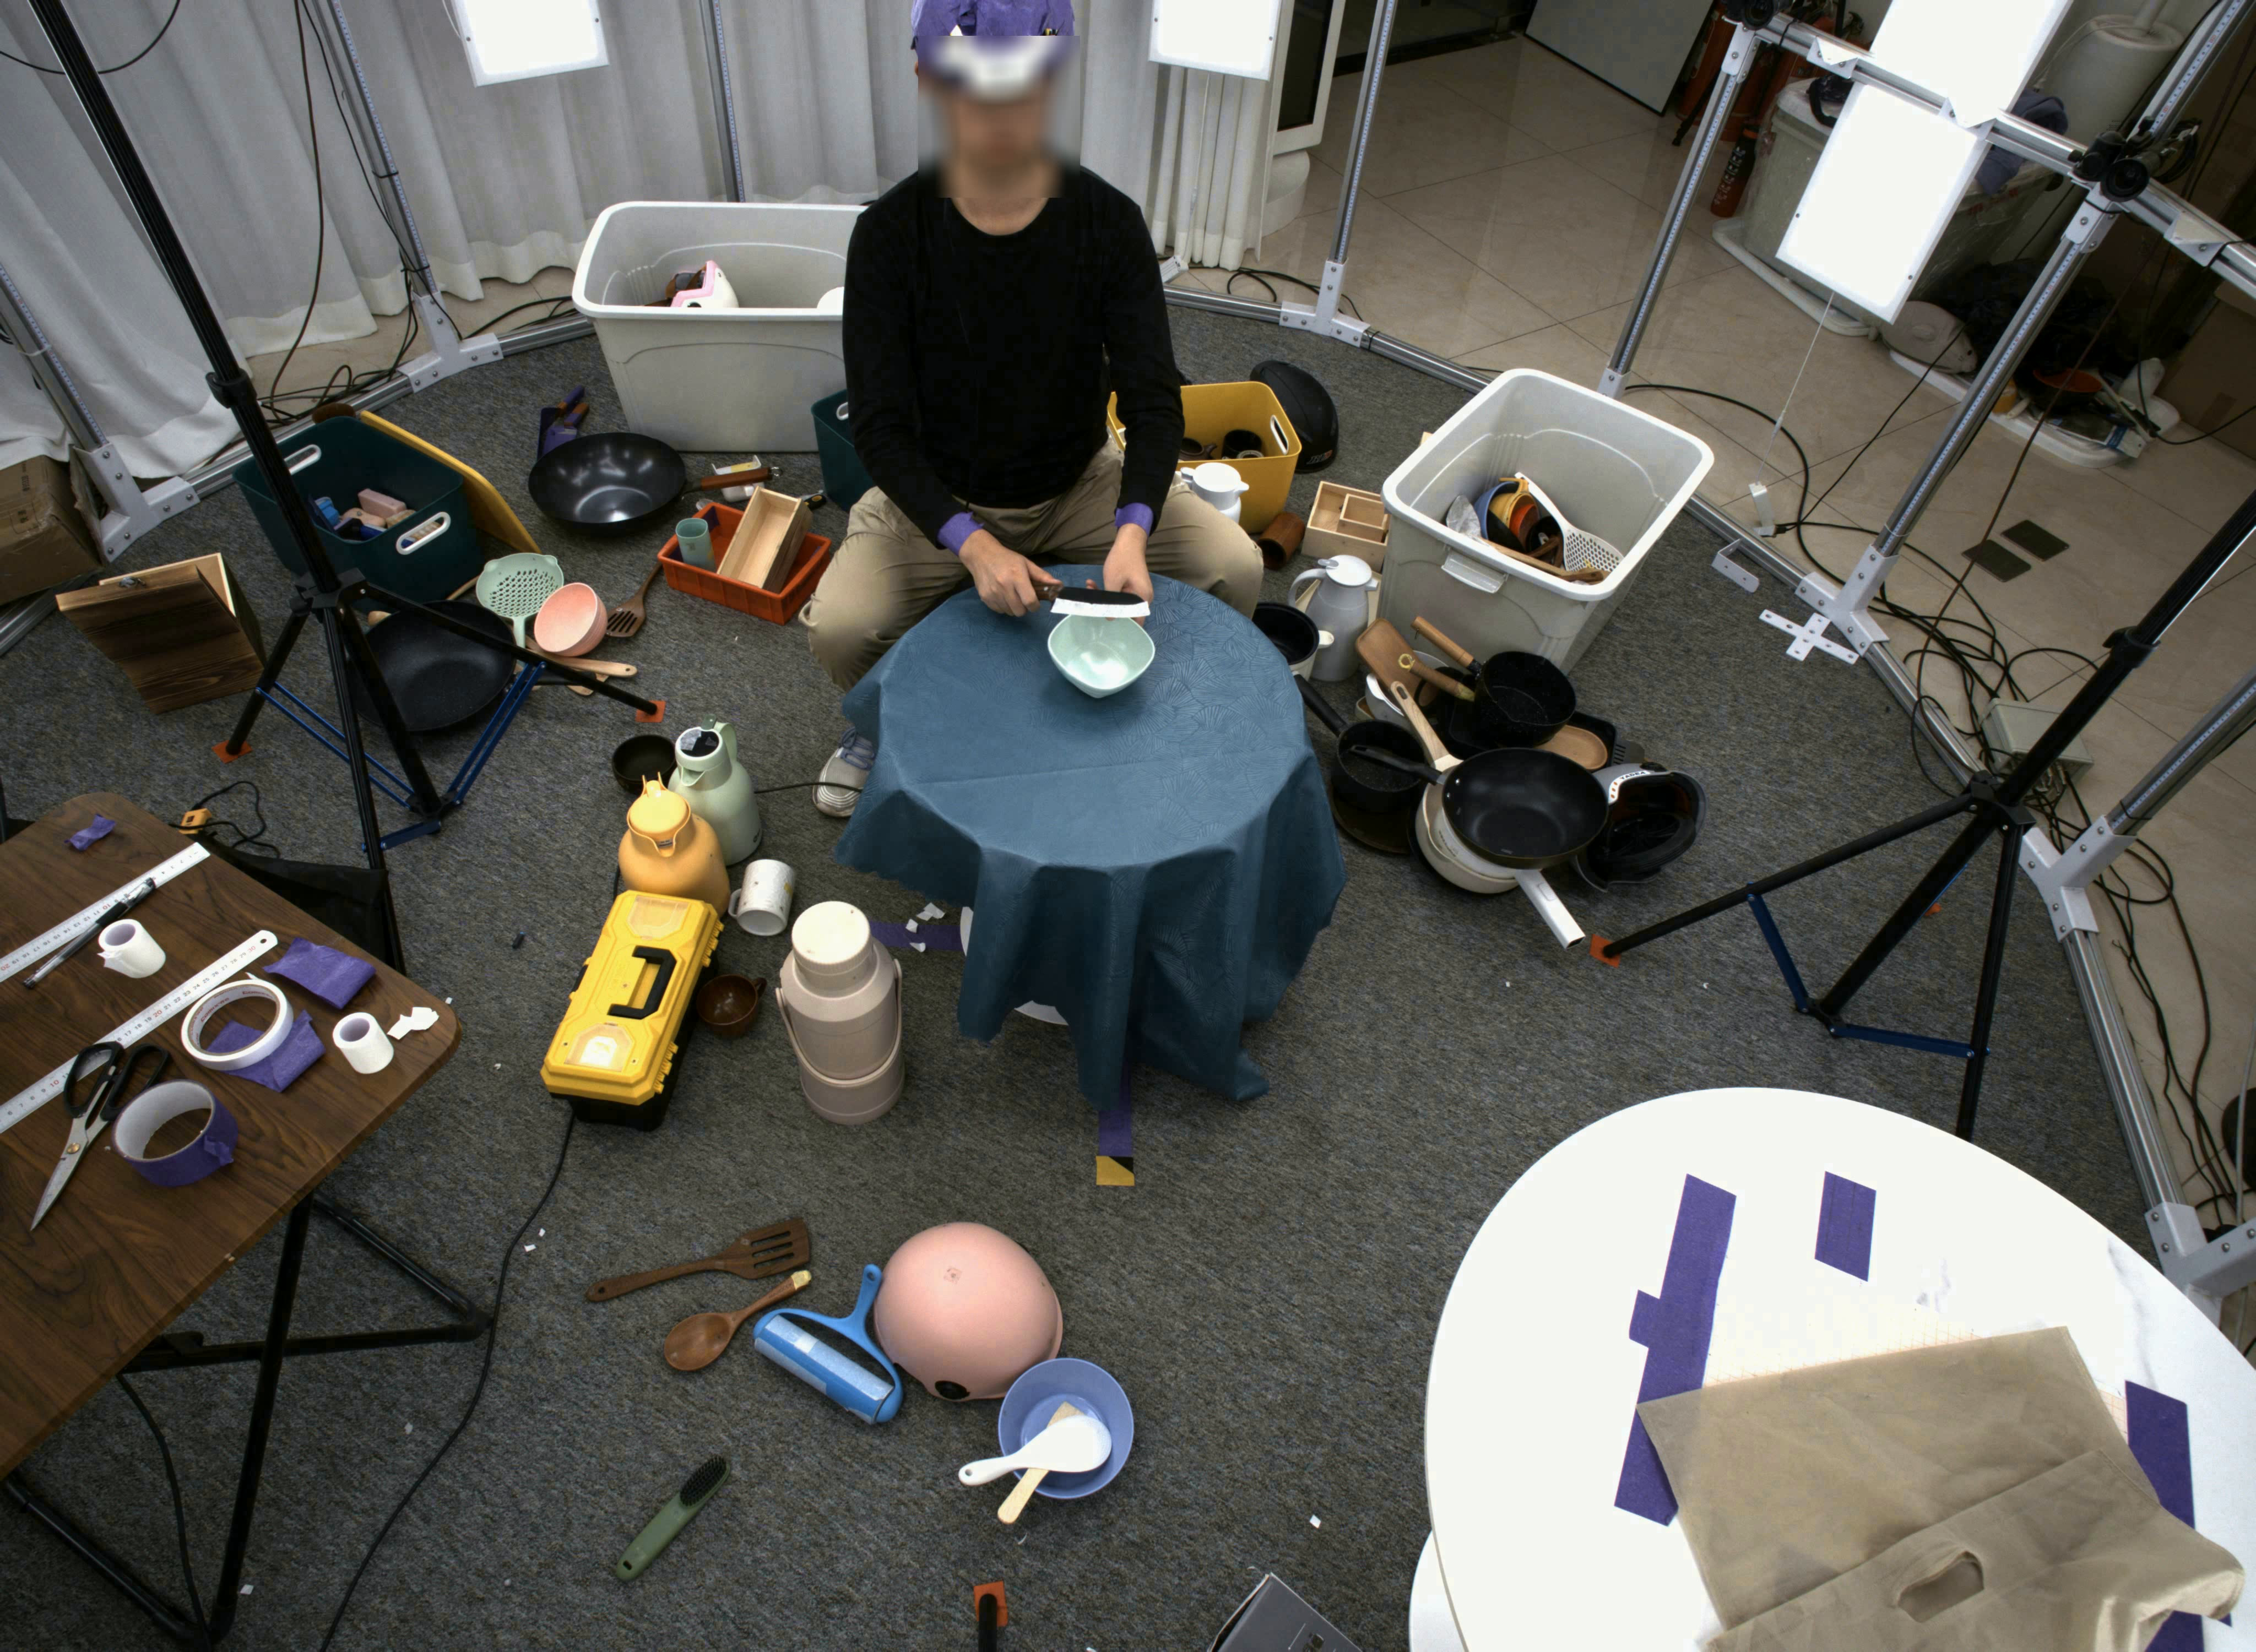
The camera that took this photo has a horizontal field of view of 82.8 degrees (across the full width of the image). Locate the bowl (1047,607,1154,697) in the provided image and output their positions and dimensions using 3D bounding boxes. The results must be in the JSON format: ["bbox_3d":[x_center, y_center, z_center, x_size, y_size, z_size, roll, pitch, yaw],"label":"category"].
[{"bbox_3d":[-0.042,-0.239,1.823,0.151,0.057,0.155,4,59,-7],"label":"bowl"}]

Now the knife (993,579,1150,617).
[{"bbox_3d":[-0.084,-0.325,1.838,0.292,0.019,0.051,15,73,35],"label":"knife"}]
